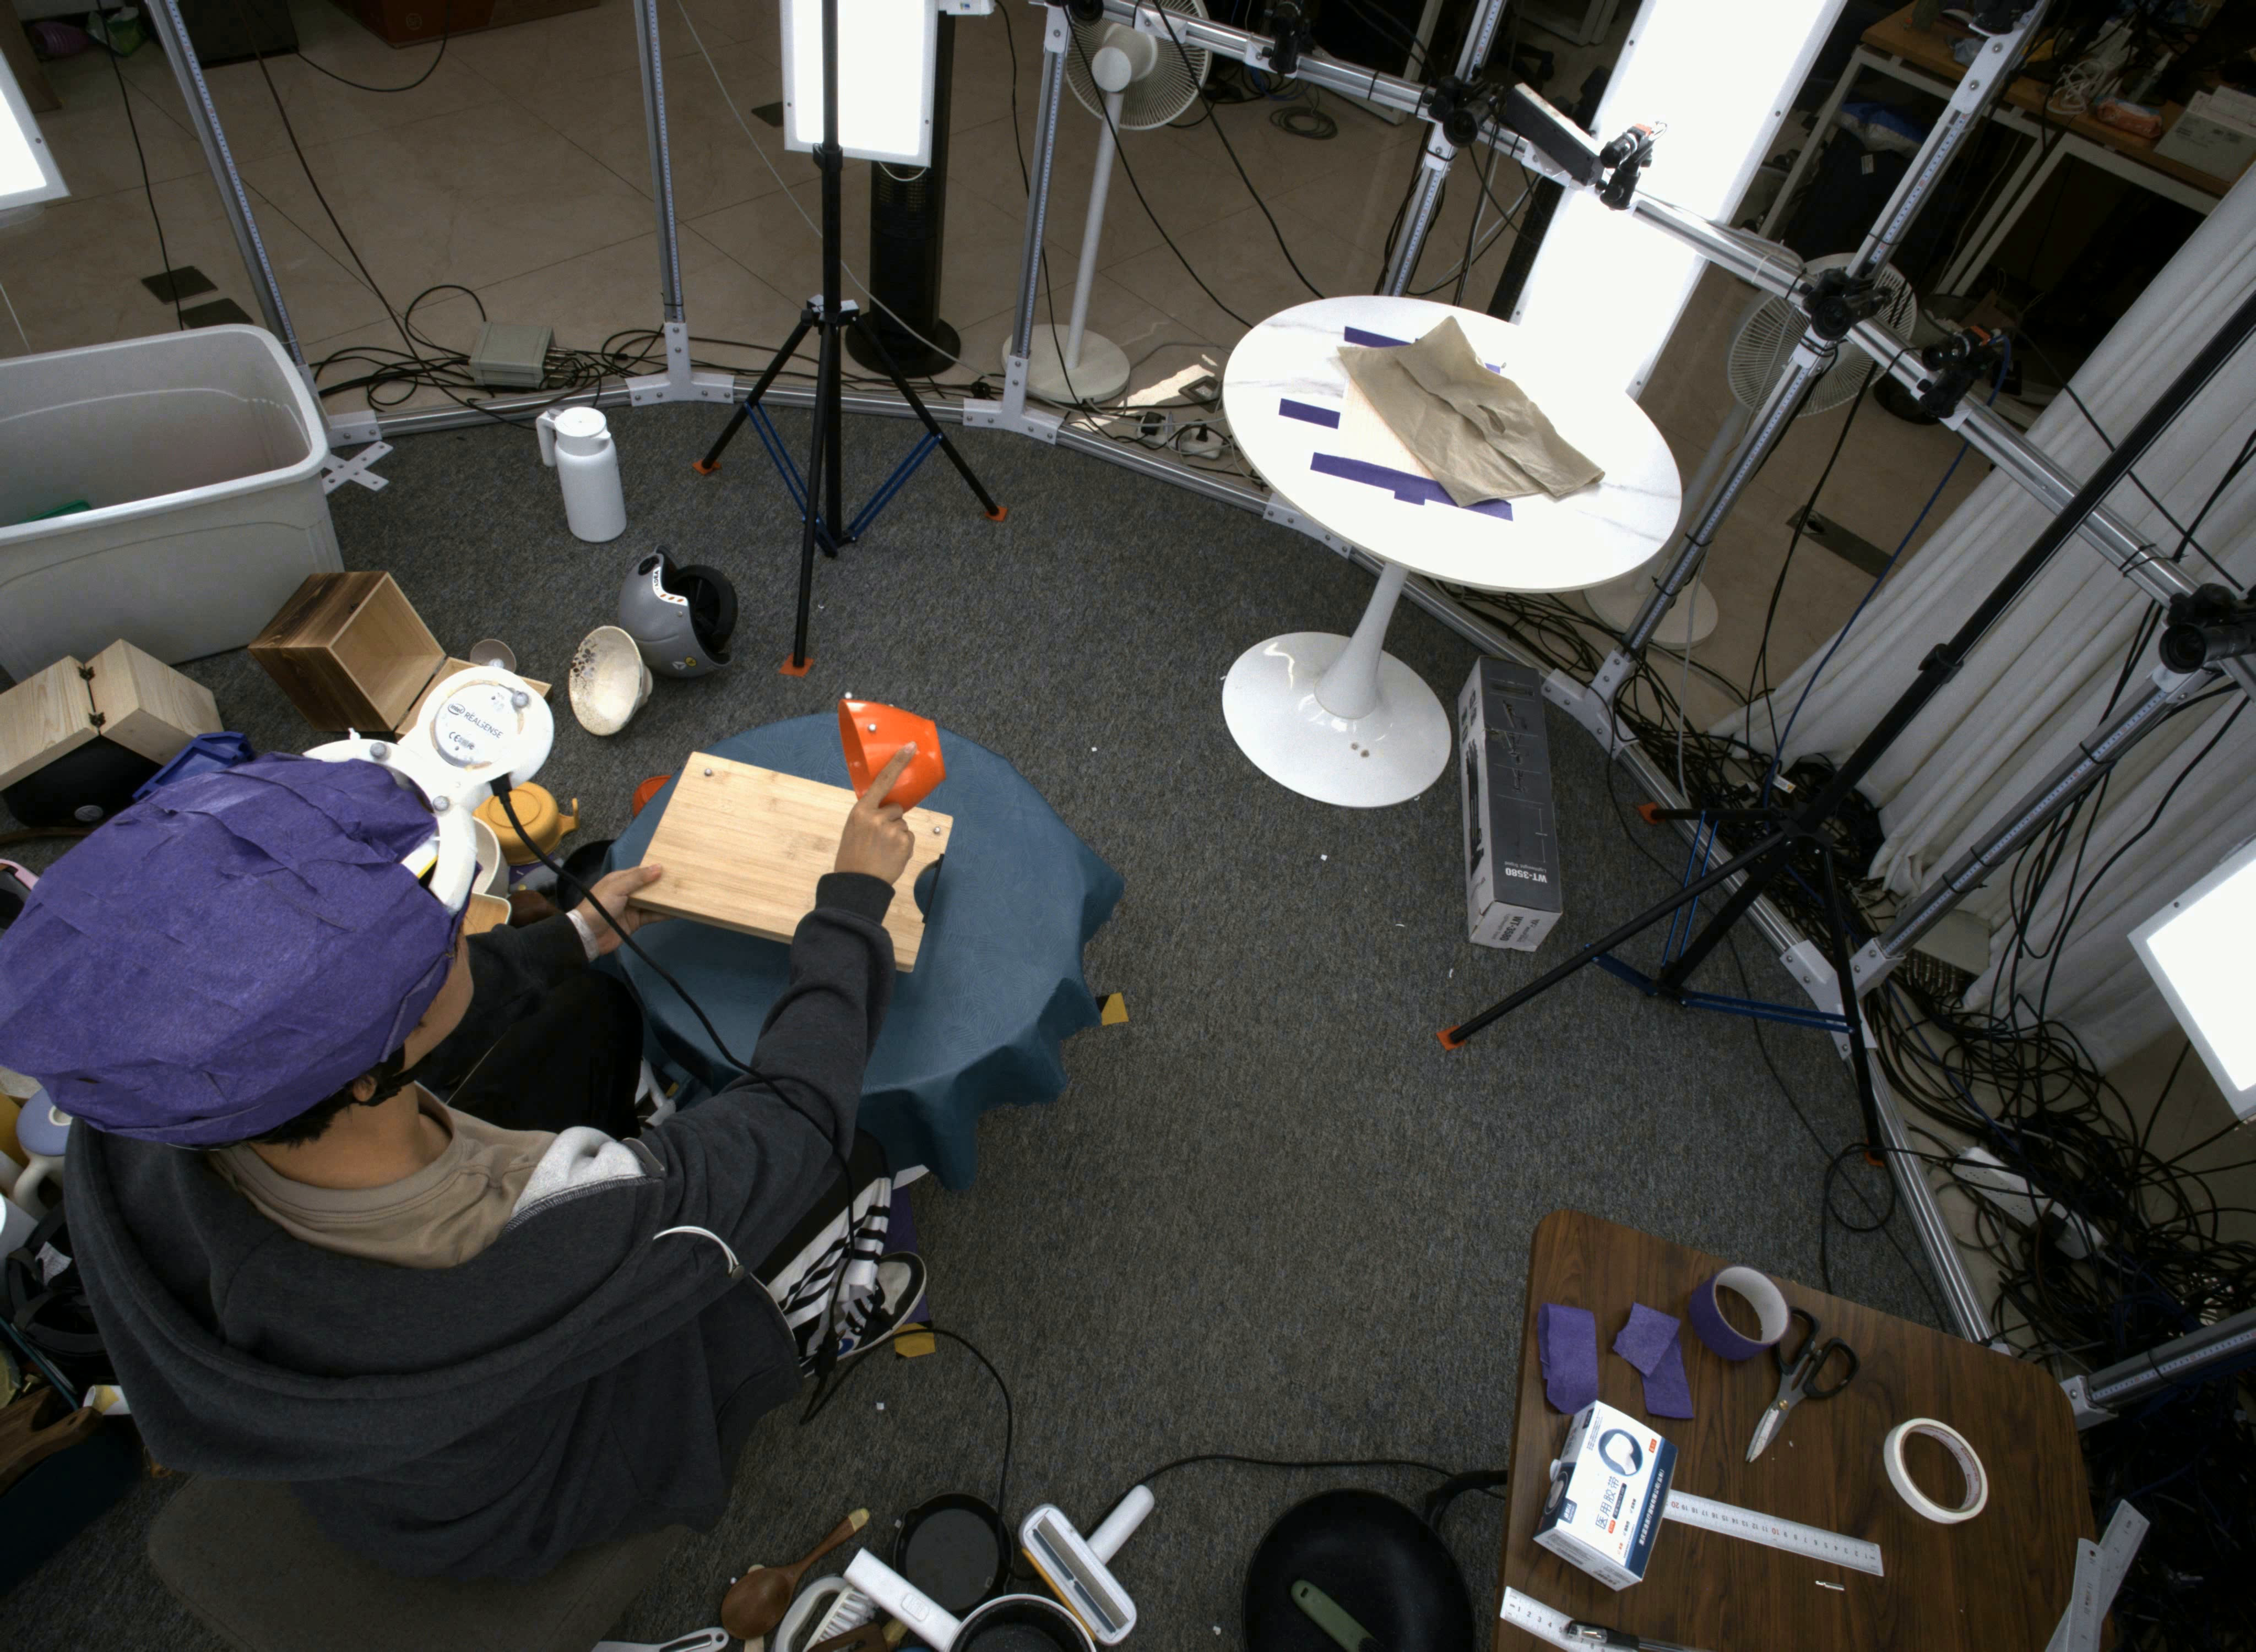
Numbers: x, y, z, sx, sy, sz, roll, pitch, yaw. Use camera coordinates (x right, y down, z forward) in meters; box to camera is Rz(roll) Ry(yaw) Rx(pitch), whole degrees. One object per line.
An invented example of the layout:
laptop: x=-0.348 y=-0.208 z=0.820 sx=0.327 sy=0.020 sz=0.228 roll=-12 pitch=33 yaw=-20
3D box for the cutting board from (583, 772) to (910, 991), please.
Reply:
cutting board: x=-0.451 y=0.061 z=1.555 sx=0.349 sy=0.024 sz=0.246 roll=11 pitch=49 yaw=-11

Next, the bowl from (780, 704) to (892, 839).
bowl: x=-0.316 y=-0.068 z=1.408 sx=0.104 sy=0.152 sz=0.144 roll=-14 pitch=56 yaw=-12
